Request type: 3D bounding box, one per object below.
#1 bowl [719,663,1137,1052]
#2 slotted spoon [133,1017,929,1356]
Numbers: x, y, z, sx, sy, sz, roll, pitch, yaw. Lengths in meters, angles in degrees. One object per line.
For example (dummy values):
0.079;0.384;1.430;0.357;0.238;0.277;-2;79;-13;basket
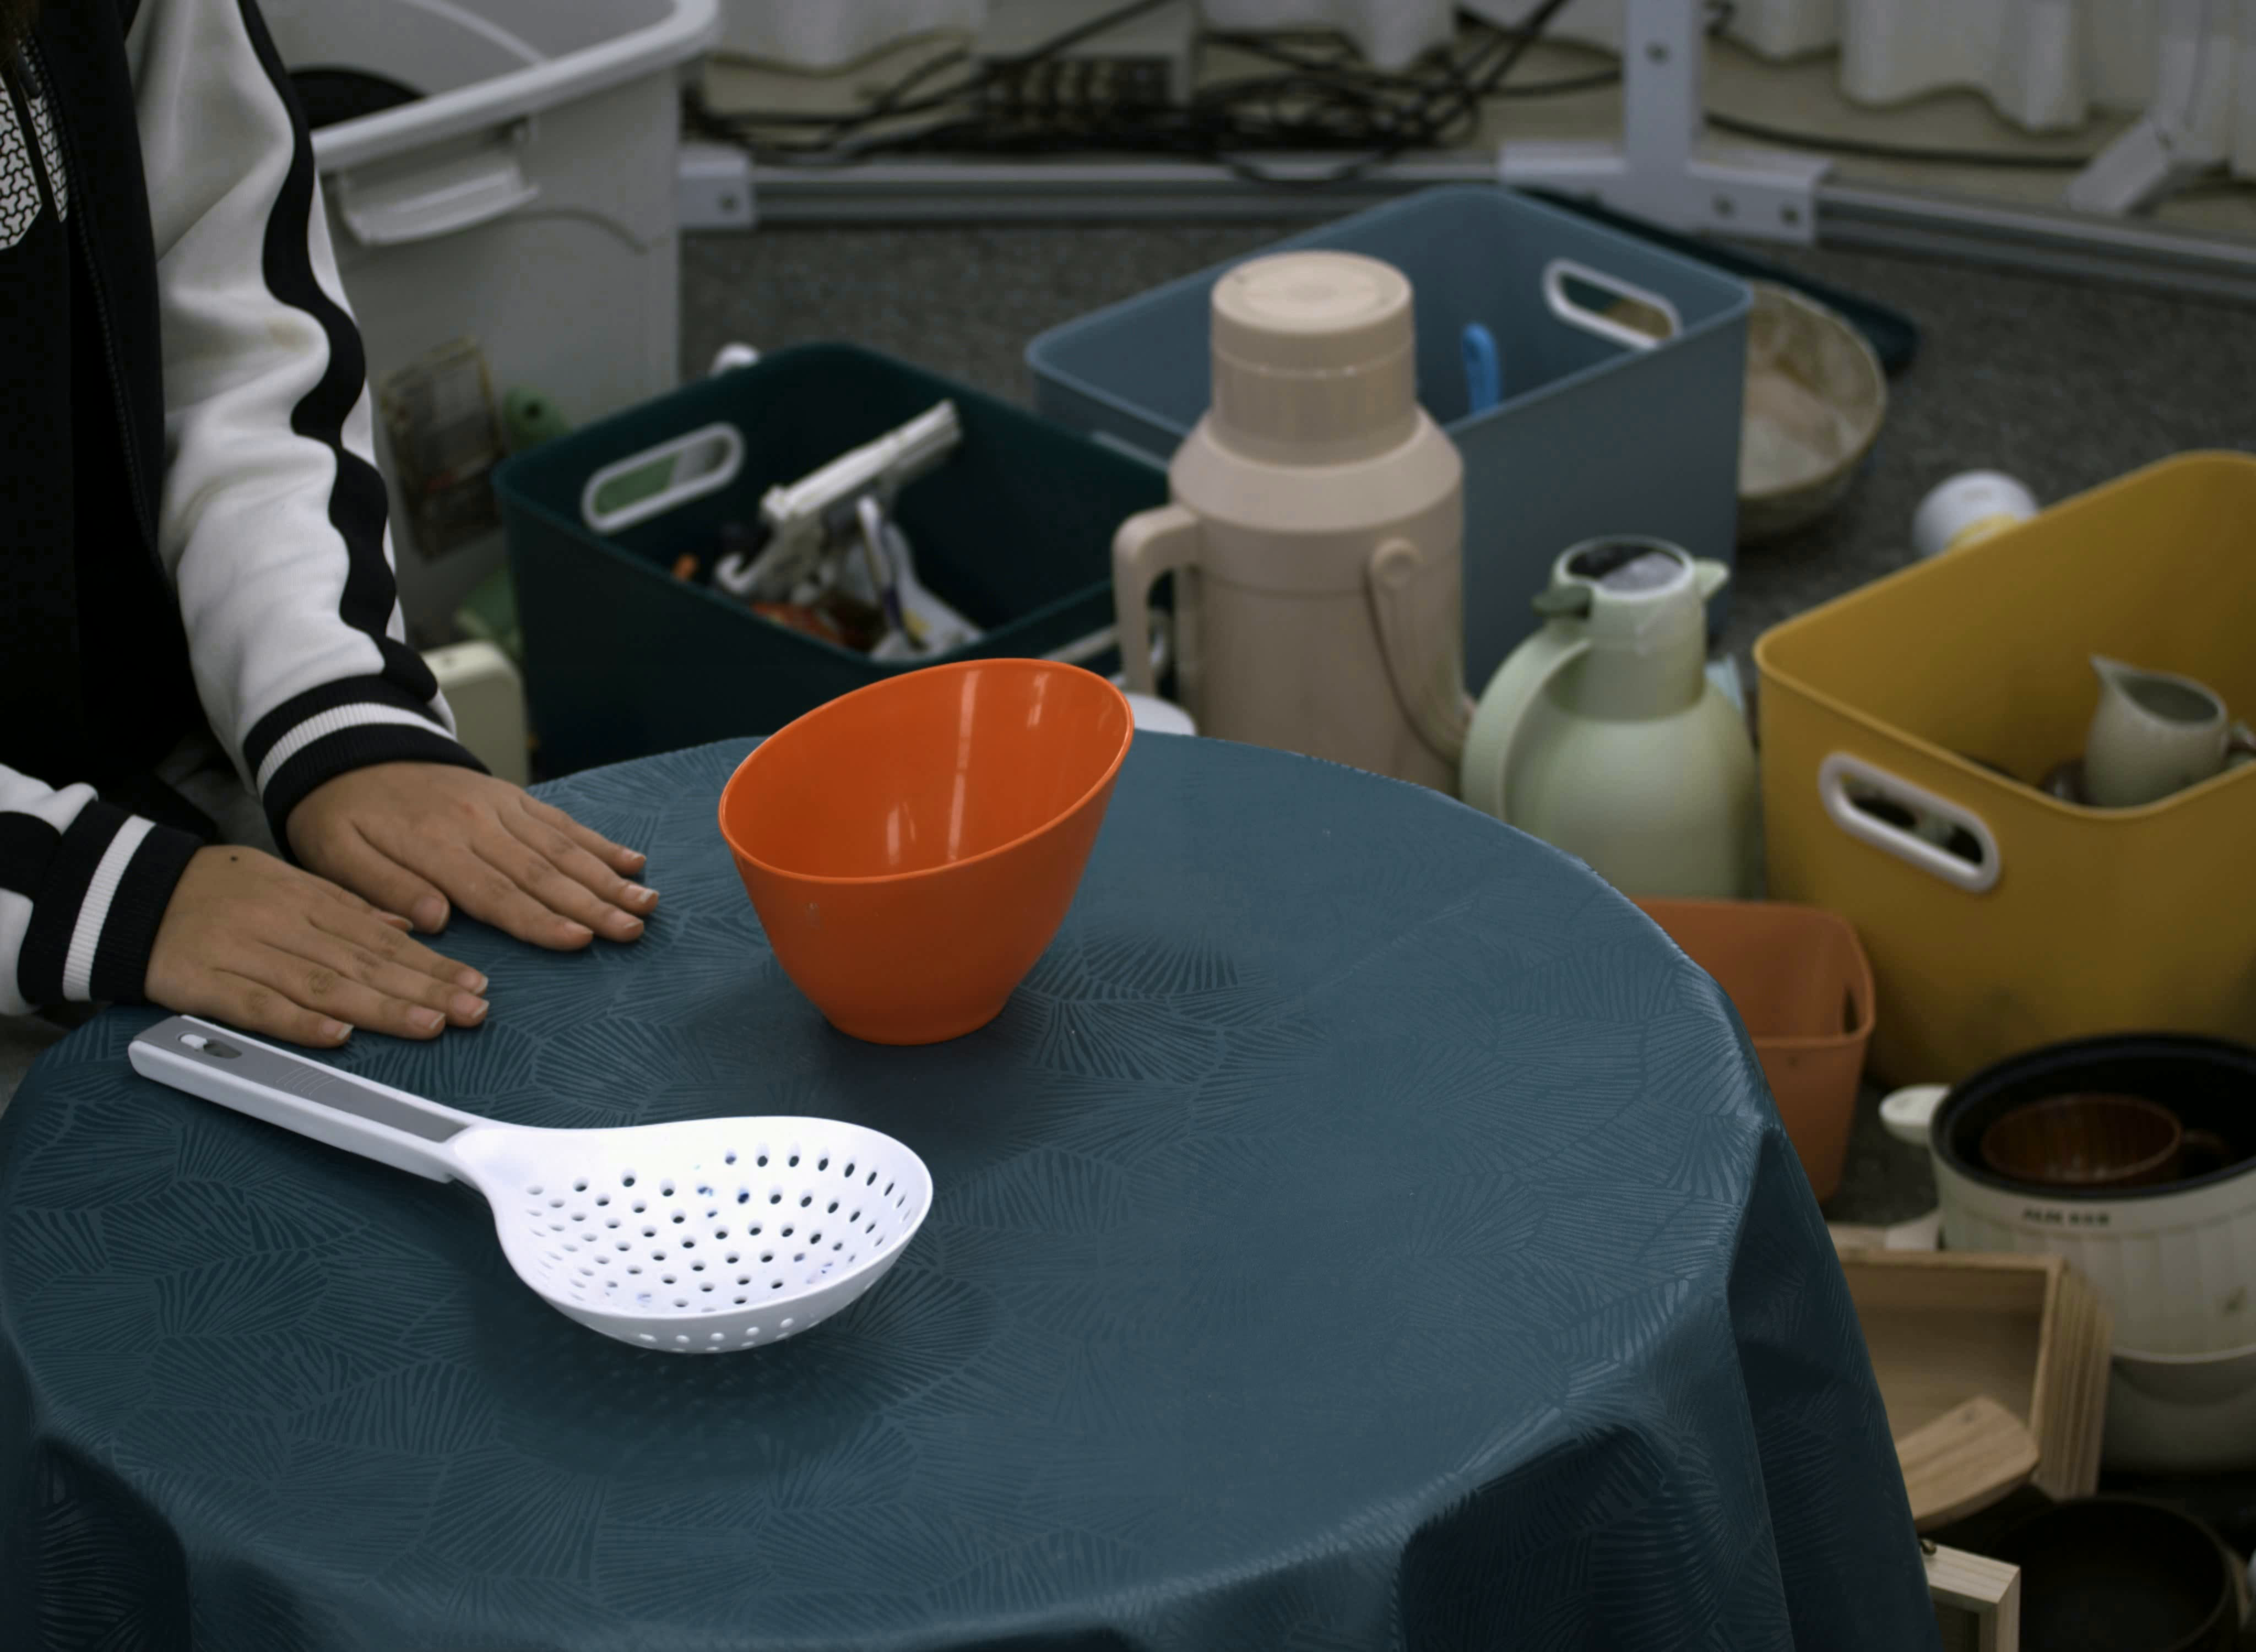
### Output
-0.067;0.017;1.963;0.147;0.103;0.150;-3;28;2;bowl
-0.210;0.111;1.855;0.348;0.045;0.138;19;33;37;slotted spoon
